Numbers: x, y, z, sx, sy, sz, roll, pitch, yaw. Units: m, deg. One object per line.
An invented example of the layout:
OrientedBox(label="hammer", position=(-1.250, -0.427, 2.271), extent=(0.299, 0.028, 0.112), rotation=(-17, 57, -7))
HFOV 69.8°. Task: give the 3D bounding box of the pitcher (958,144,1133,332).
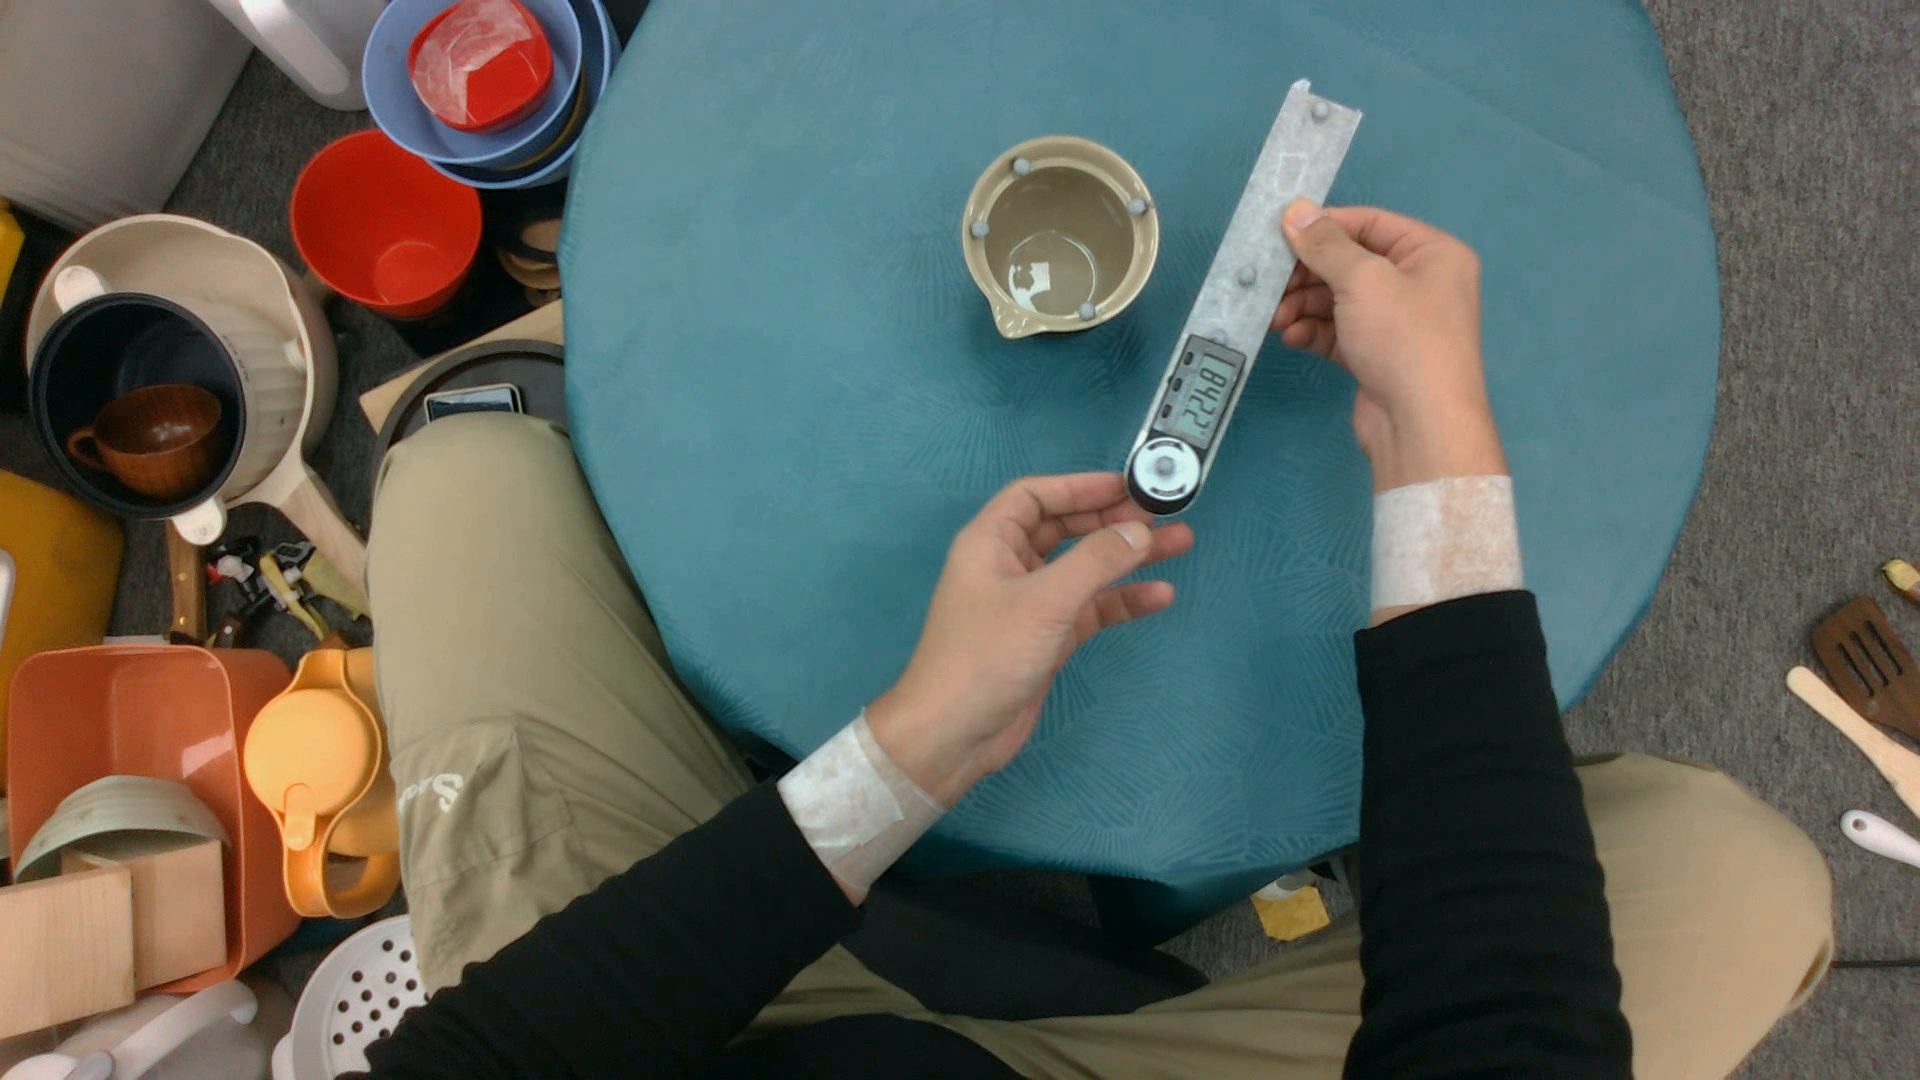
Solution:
OrientedBox(label="pitcher", position=(0.037, -0.138, 0.677), extent=(0.083, 0.071, 0.096), rotation=(28, 82, 2))

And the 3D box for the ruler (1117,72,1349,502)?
OrientedBox(label="ruler", position=(0.127, -0.119, 0.634), extent=(0.038, 0.024, 0.218), rotation=(24, 82, -1))
